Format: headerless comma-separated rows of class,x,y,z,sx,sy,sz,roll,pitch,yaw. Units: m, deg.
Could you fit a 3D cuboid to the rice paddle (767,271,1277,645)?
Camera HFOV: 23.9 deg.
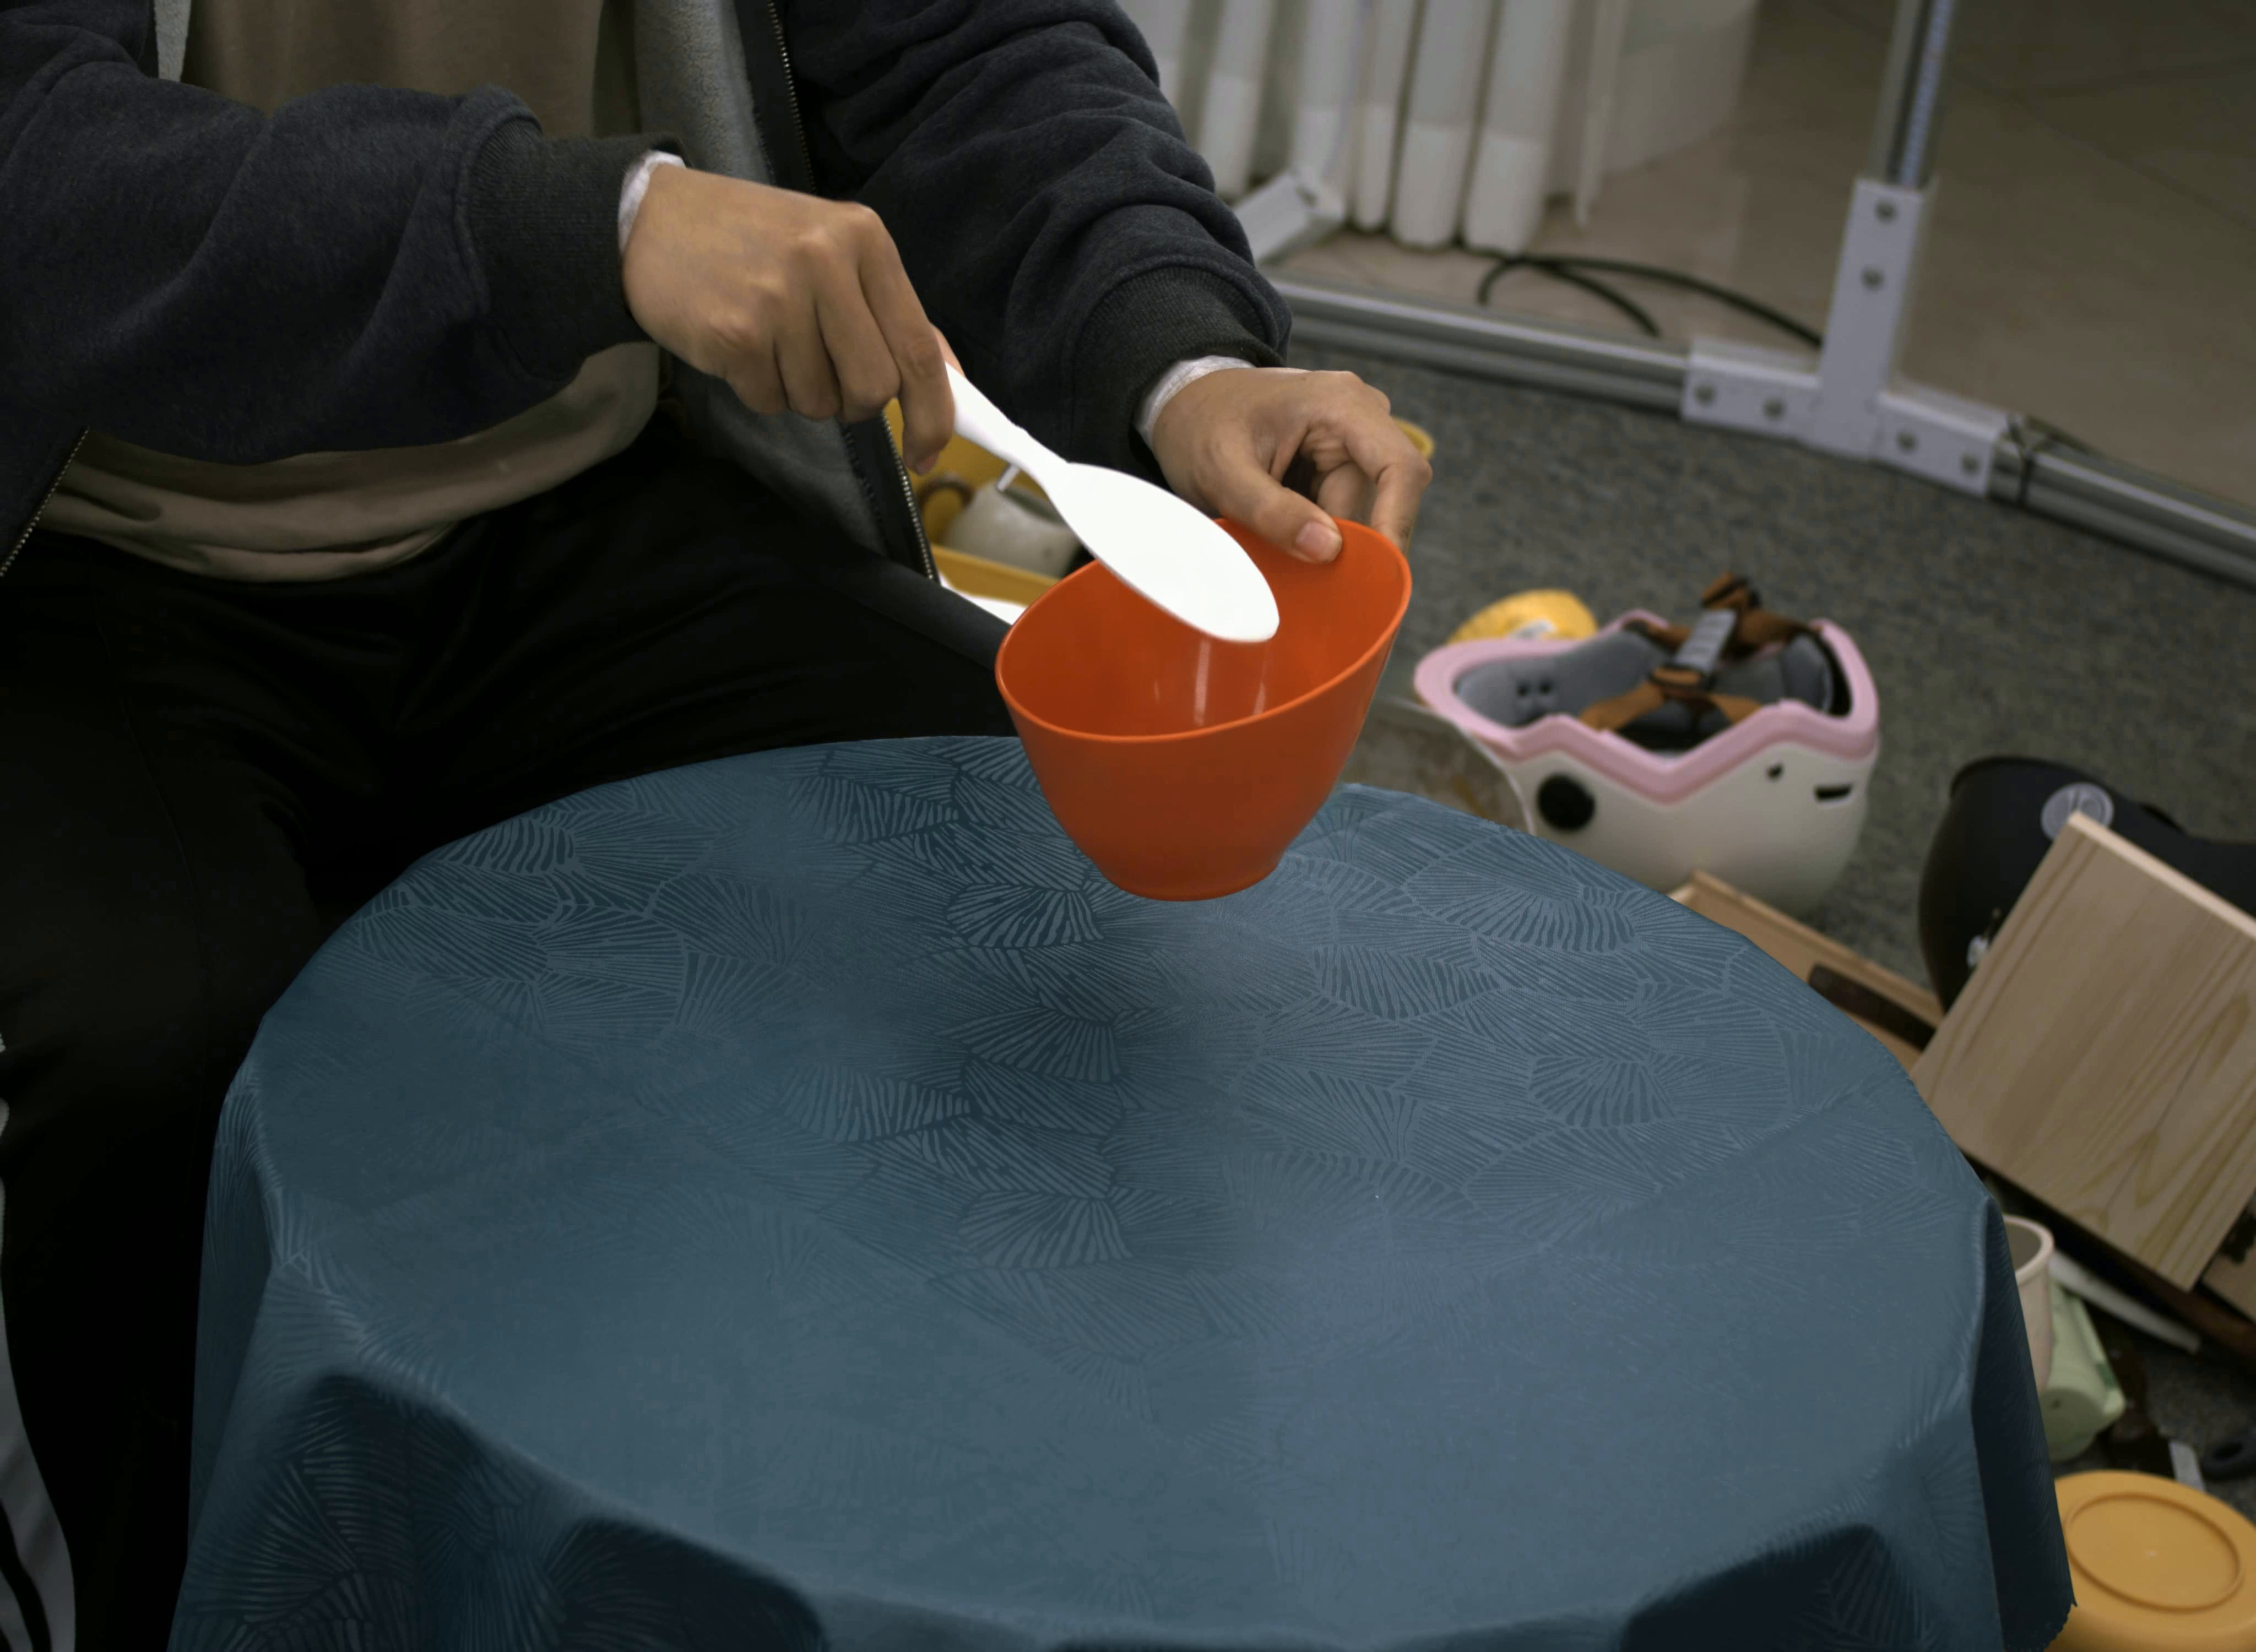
rice paddle,-0.031,-0.125,1.842,0.204,0.029,0.069,32,34,-10

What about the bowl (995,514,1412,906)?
bowl,0.030,-0.034,1.868,0.147,0.104,0.149,-5,30,3
